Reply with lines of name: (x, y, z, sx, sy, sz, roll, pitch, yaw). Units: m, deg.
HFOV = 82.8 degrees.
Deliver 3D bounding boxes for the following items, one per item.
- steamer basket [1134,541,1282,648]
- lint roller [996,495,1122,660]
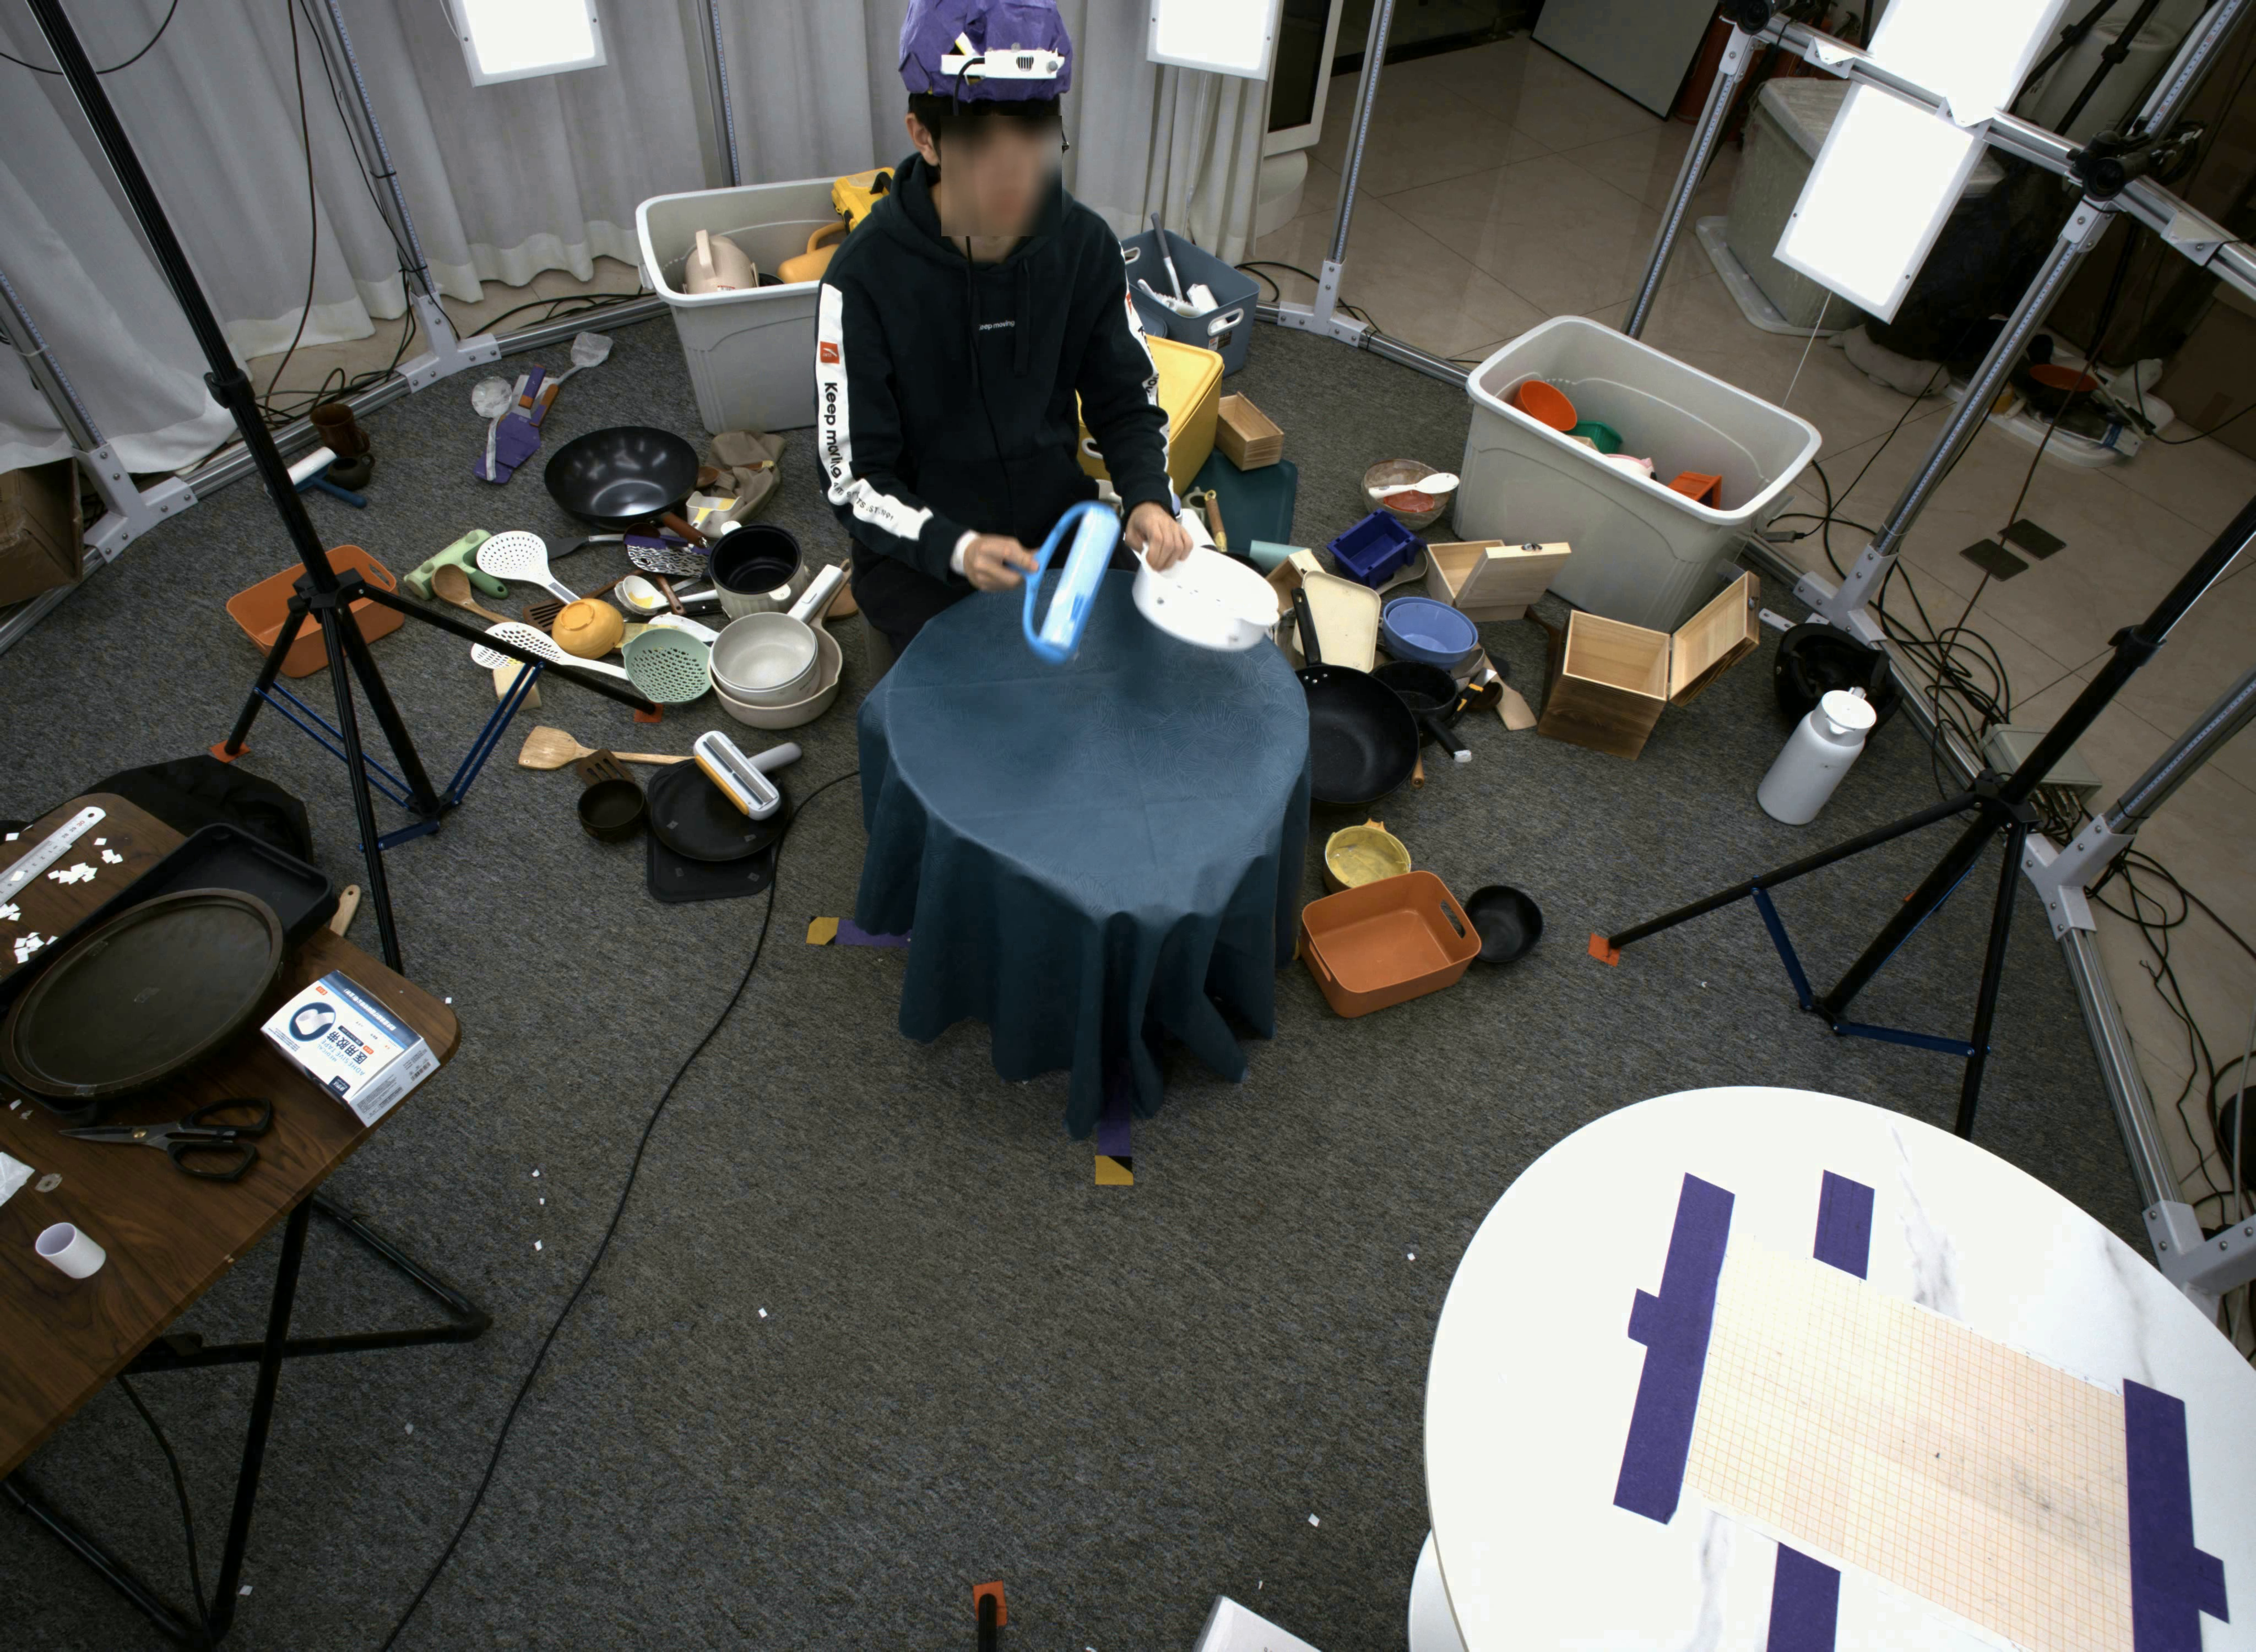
steamer basket: (0.106, -0.318, 1.775, 0.234, 0.068, 0.202, 39, 33, 30)
lint roller: (-0.112, -0.339, 1.734, 0.181, 0.067, 0.231, 8, 78, 24)
